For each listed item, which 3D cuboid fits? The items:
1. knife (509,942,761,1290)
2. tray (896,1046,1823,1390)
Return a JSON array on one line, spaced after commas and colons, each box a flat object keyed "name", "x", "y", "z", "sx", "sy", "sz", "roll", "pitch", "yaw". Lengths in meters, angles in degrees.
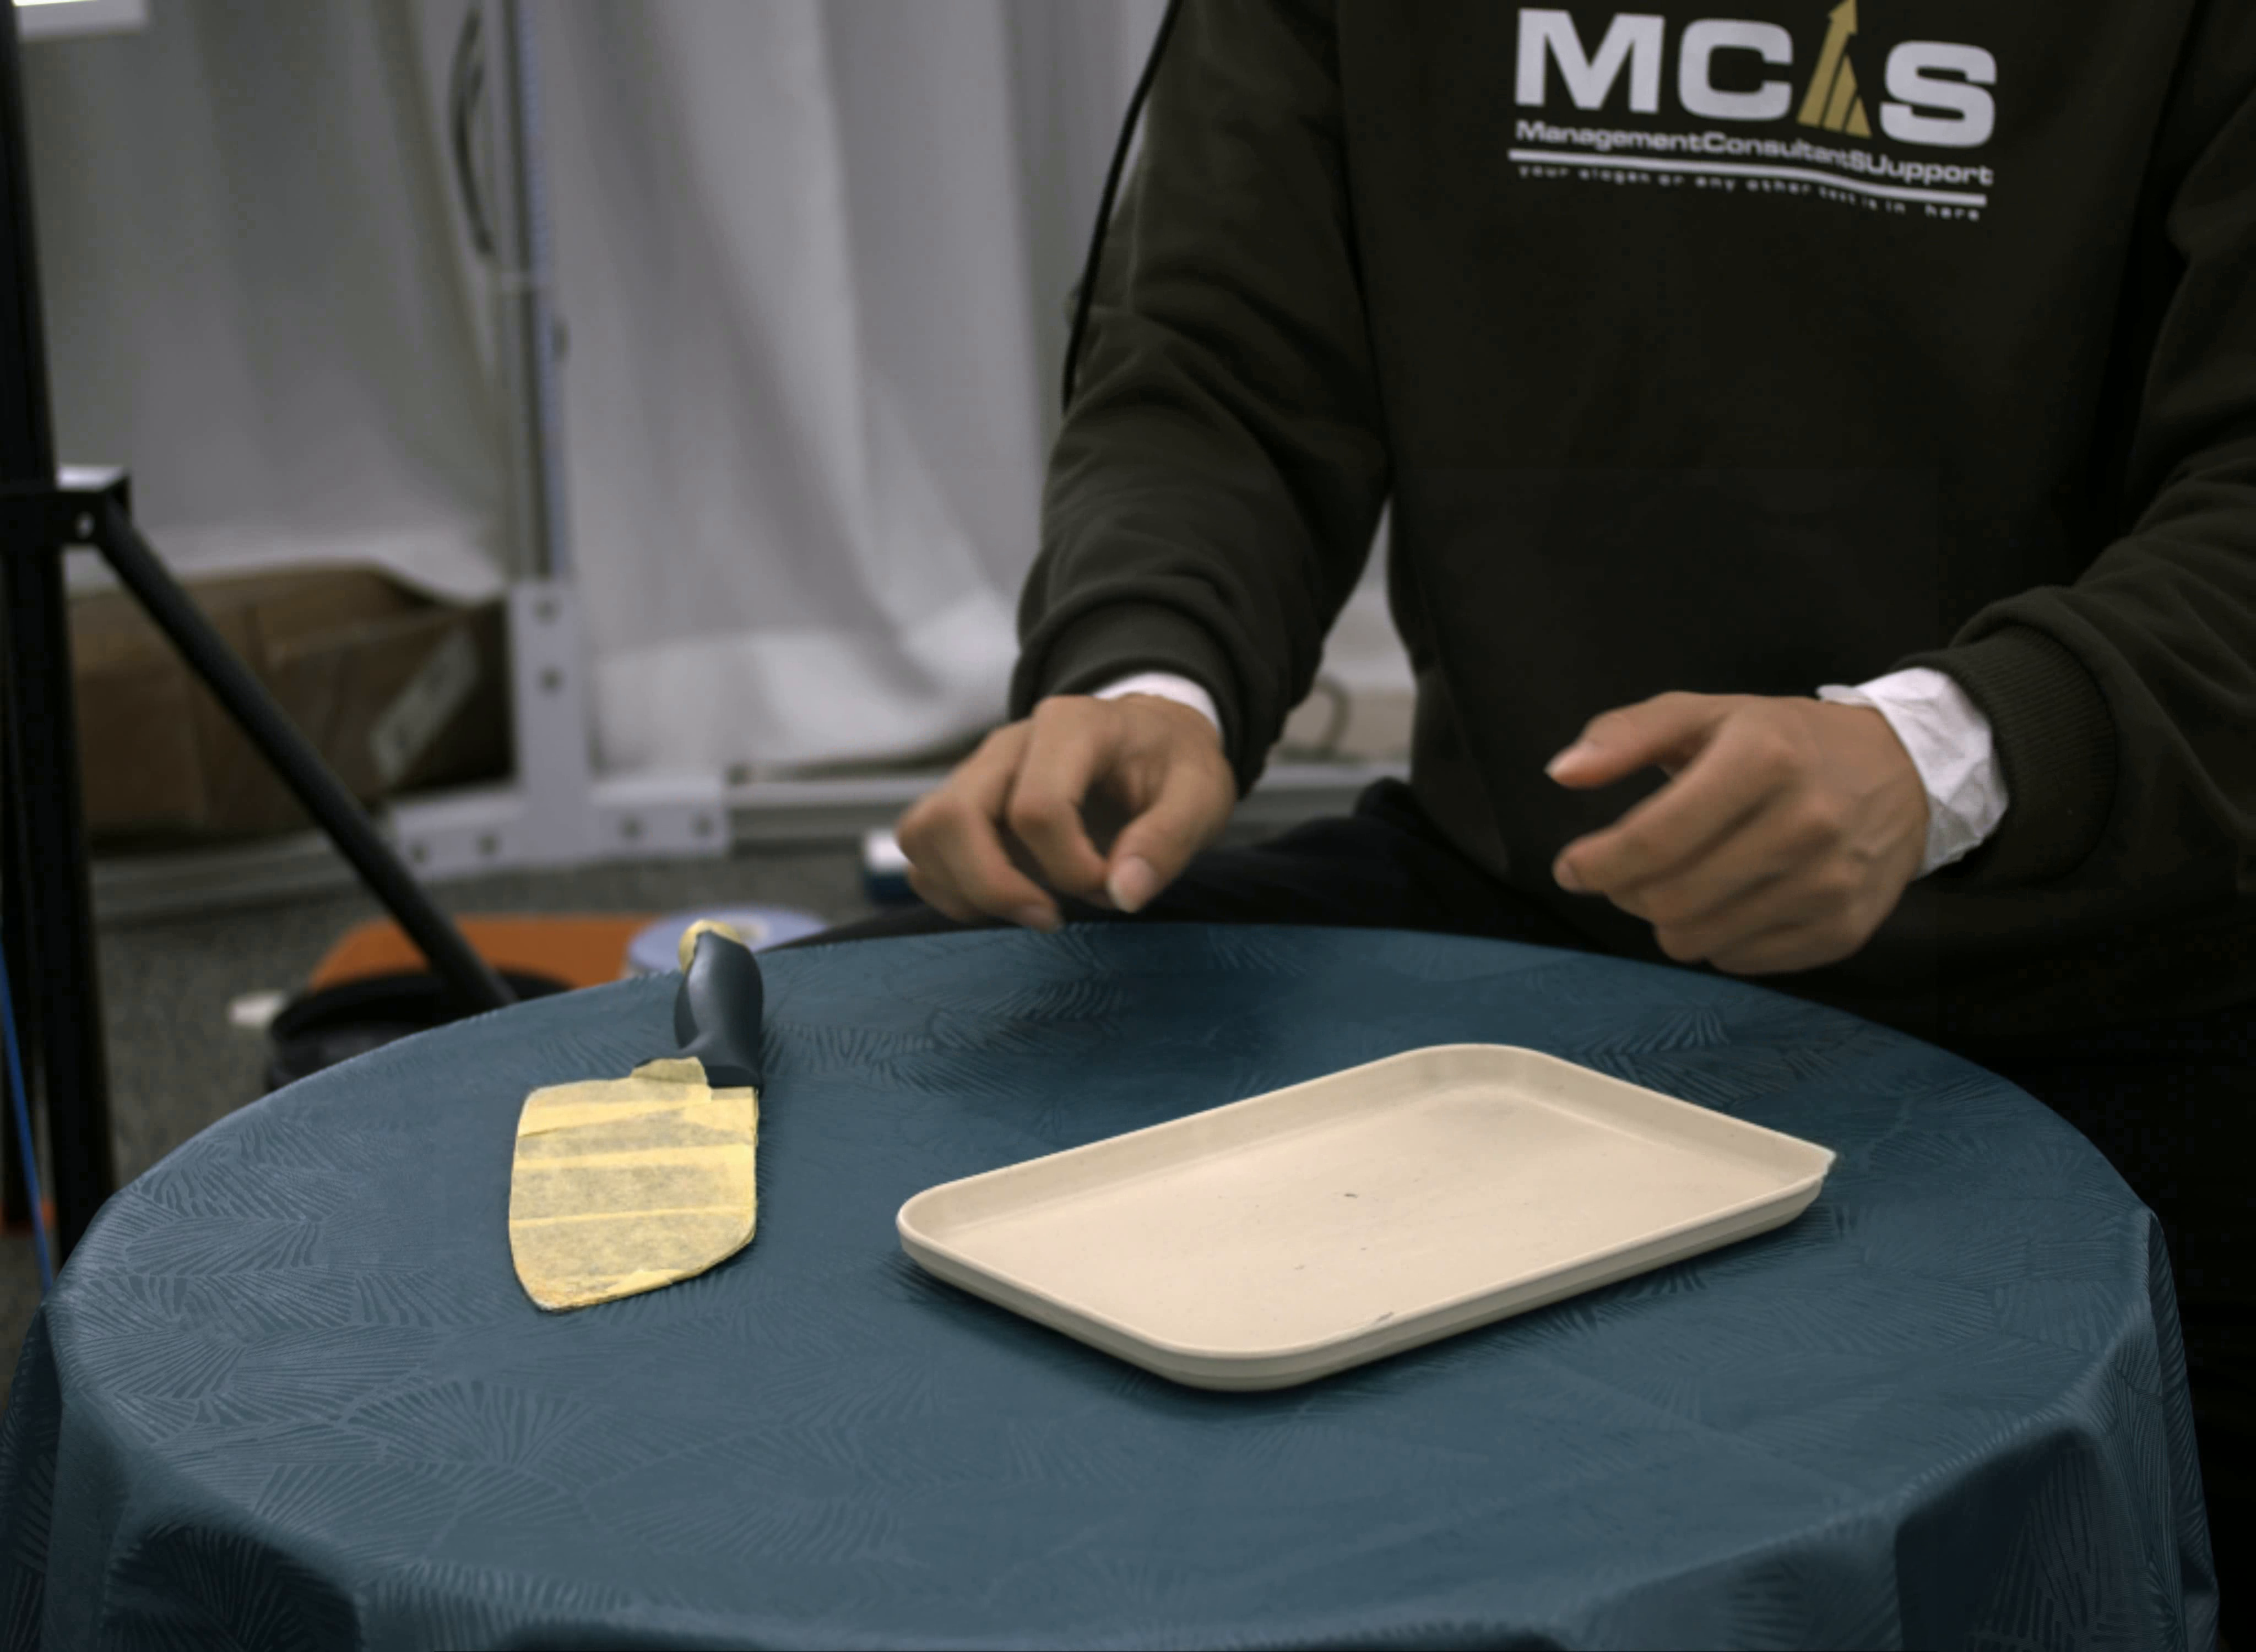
[{"name": "knife", "x": -0.147, "y": 0.088, "z": 1.628, "sx": 0.080, "sy": 0.027, "sz": 0.291, "roll": -1, "pitch": 17, "yaw": 0}, {"name": "tray", "x": 0.067, "y": 0.110, "z": 1.510, "sx": 0.234, "sy": 0.017, "sz": 0.175, "roll": -14, "pitch": 19, "yaw": -35}]
